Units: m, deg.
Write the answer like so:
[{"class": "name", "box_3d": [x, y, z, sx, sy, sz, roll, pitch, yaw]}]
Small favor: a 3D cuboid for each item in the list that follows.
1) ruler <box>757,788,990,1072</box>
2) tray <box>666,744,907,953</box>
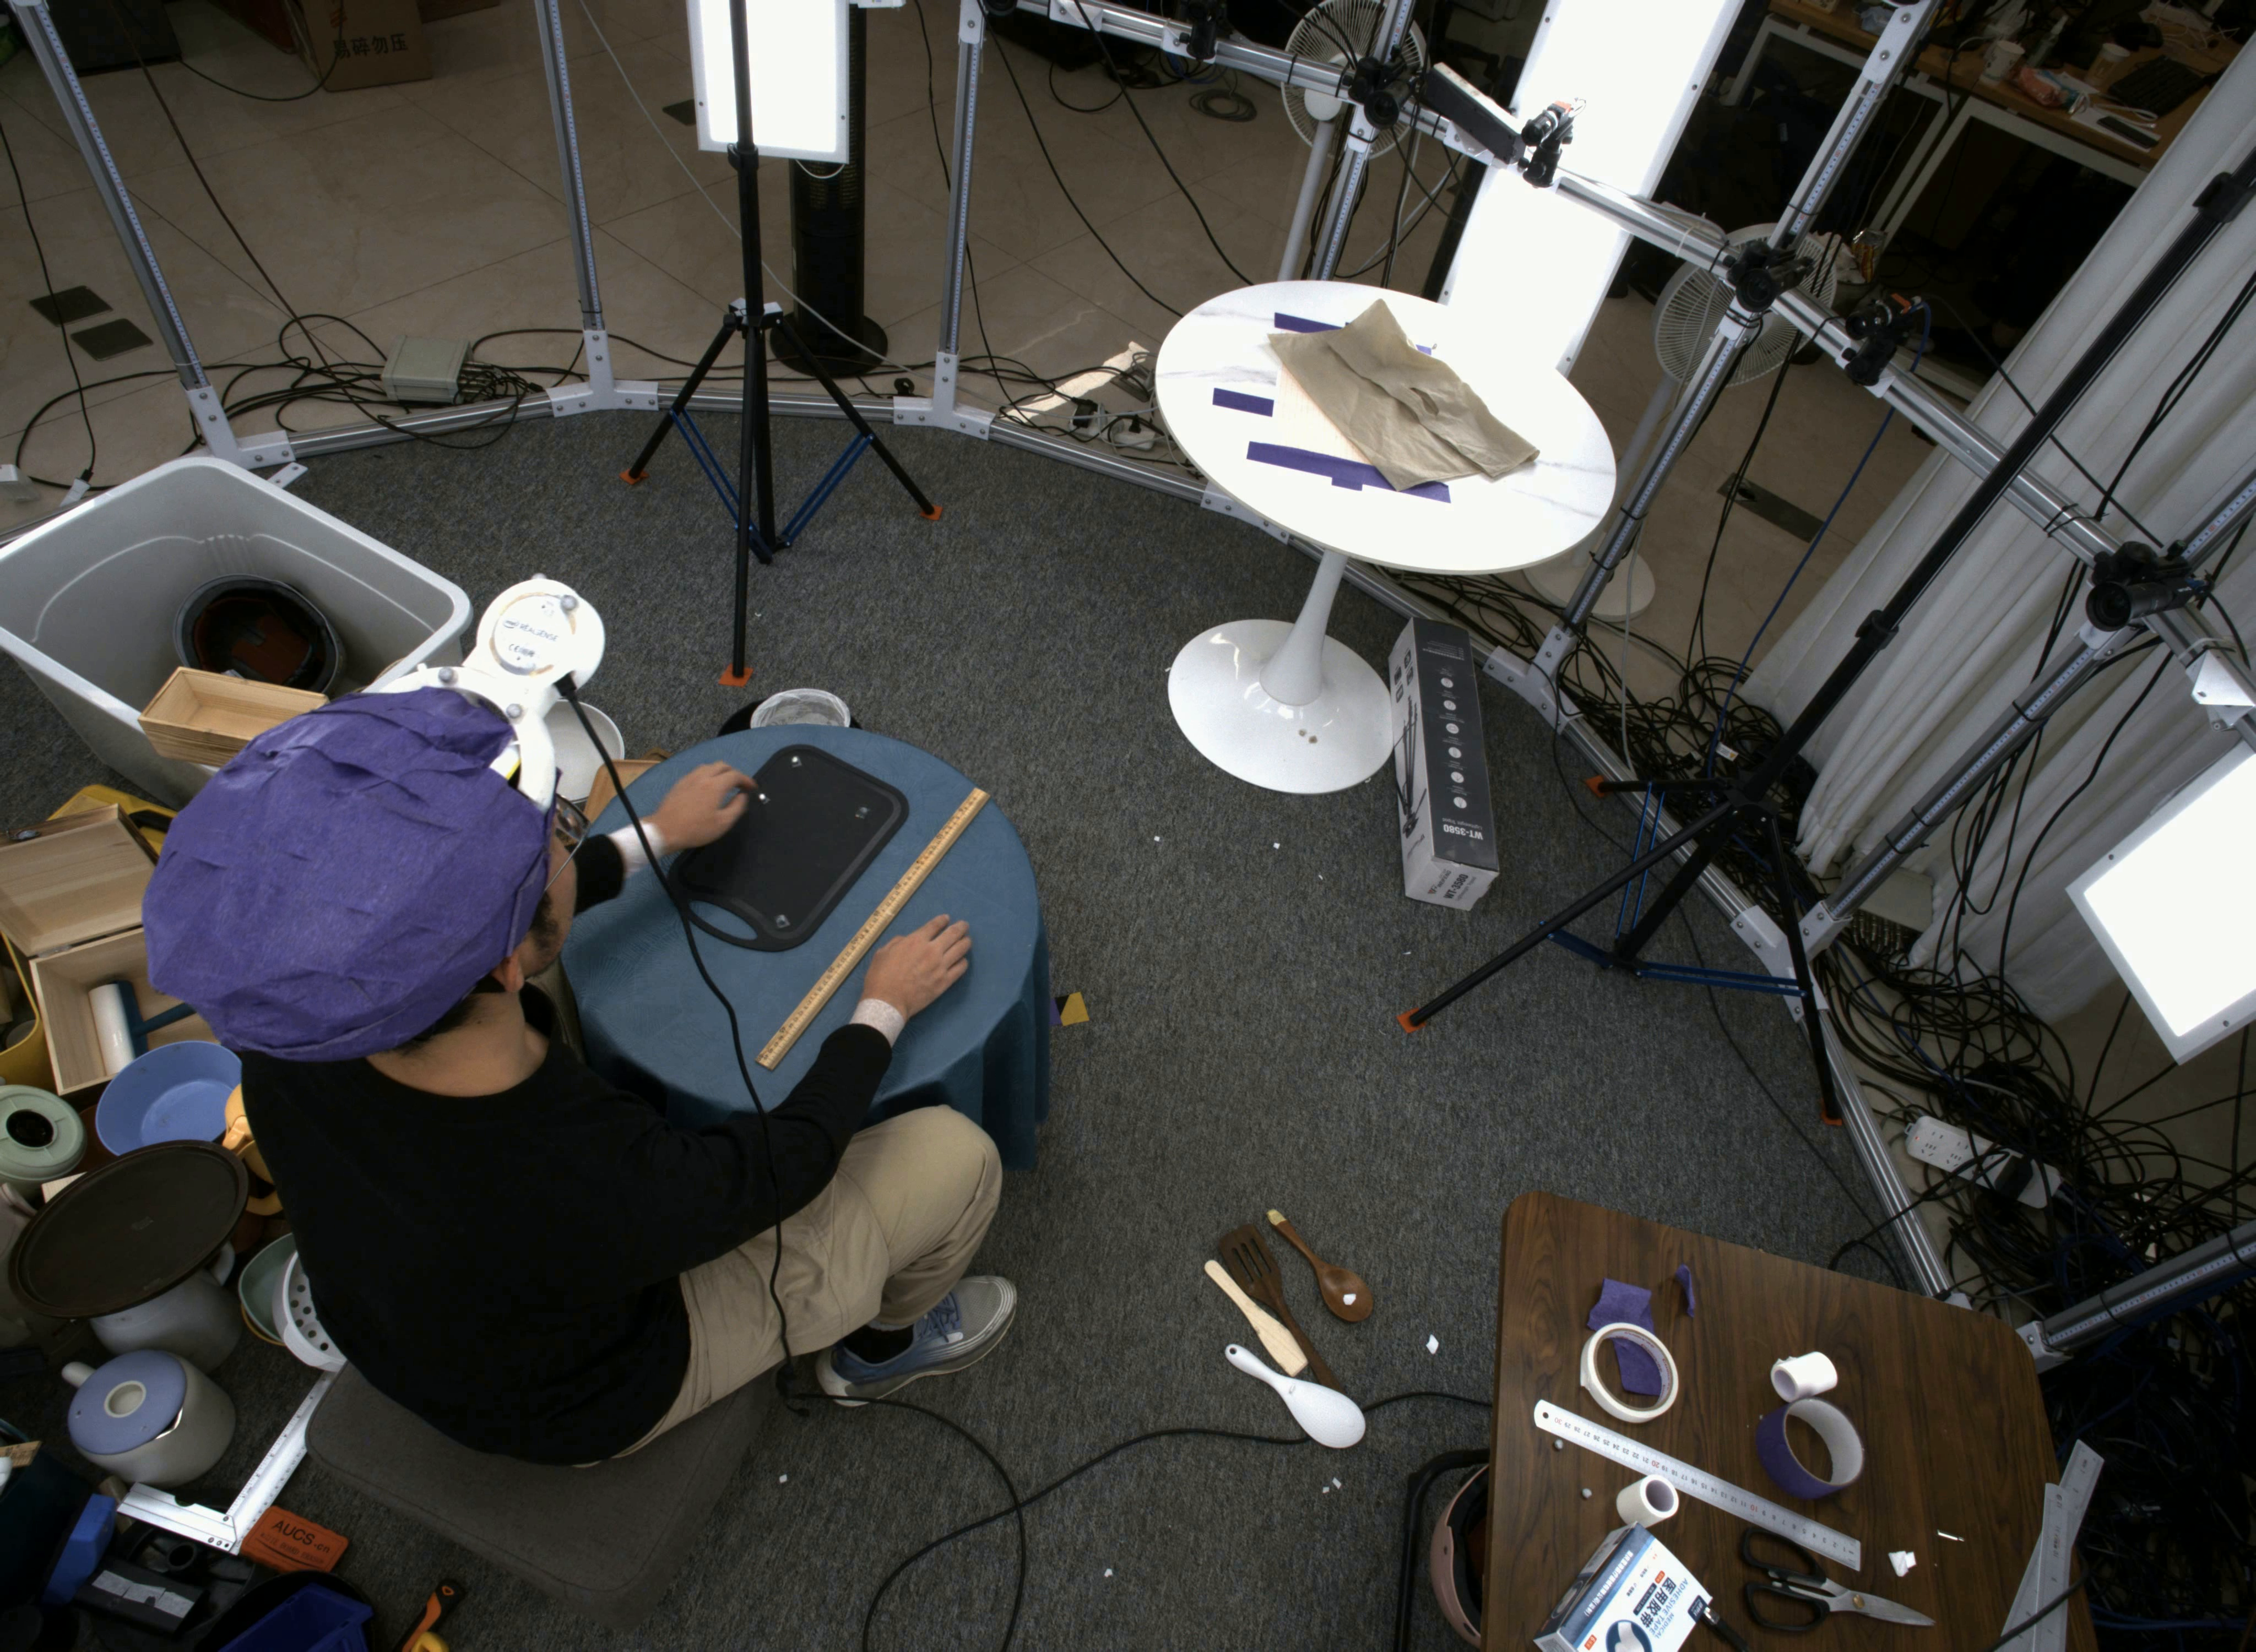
[{"class": "ruler", "box_3d": [-0.313, 0.115, 1.659, 0.026, 0.006, 0.498, 27, 52, 10]}, {"class": "tray", "box_3d": [-0.445, 0.025, 1.690, 0.208, 0.010, 0.324, 28, 52, 7]}]
